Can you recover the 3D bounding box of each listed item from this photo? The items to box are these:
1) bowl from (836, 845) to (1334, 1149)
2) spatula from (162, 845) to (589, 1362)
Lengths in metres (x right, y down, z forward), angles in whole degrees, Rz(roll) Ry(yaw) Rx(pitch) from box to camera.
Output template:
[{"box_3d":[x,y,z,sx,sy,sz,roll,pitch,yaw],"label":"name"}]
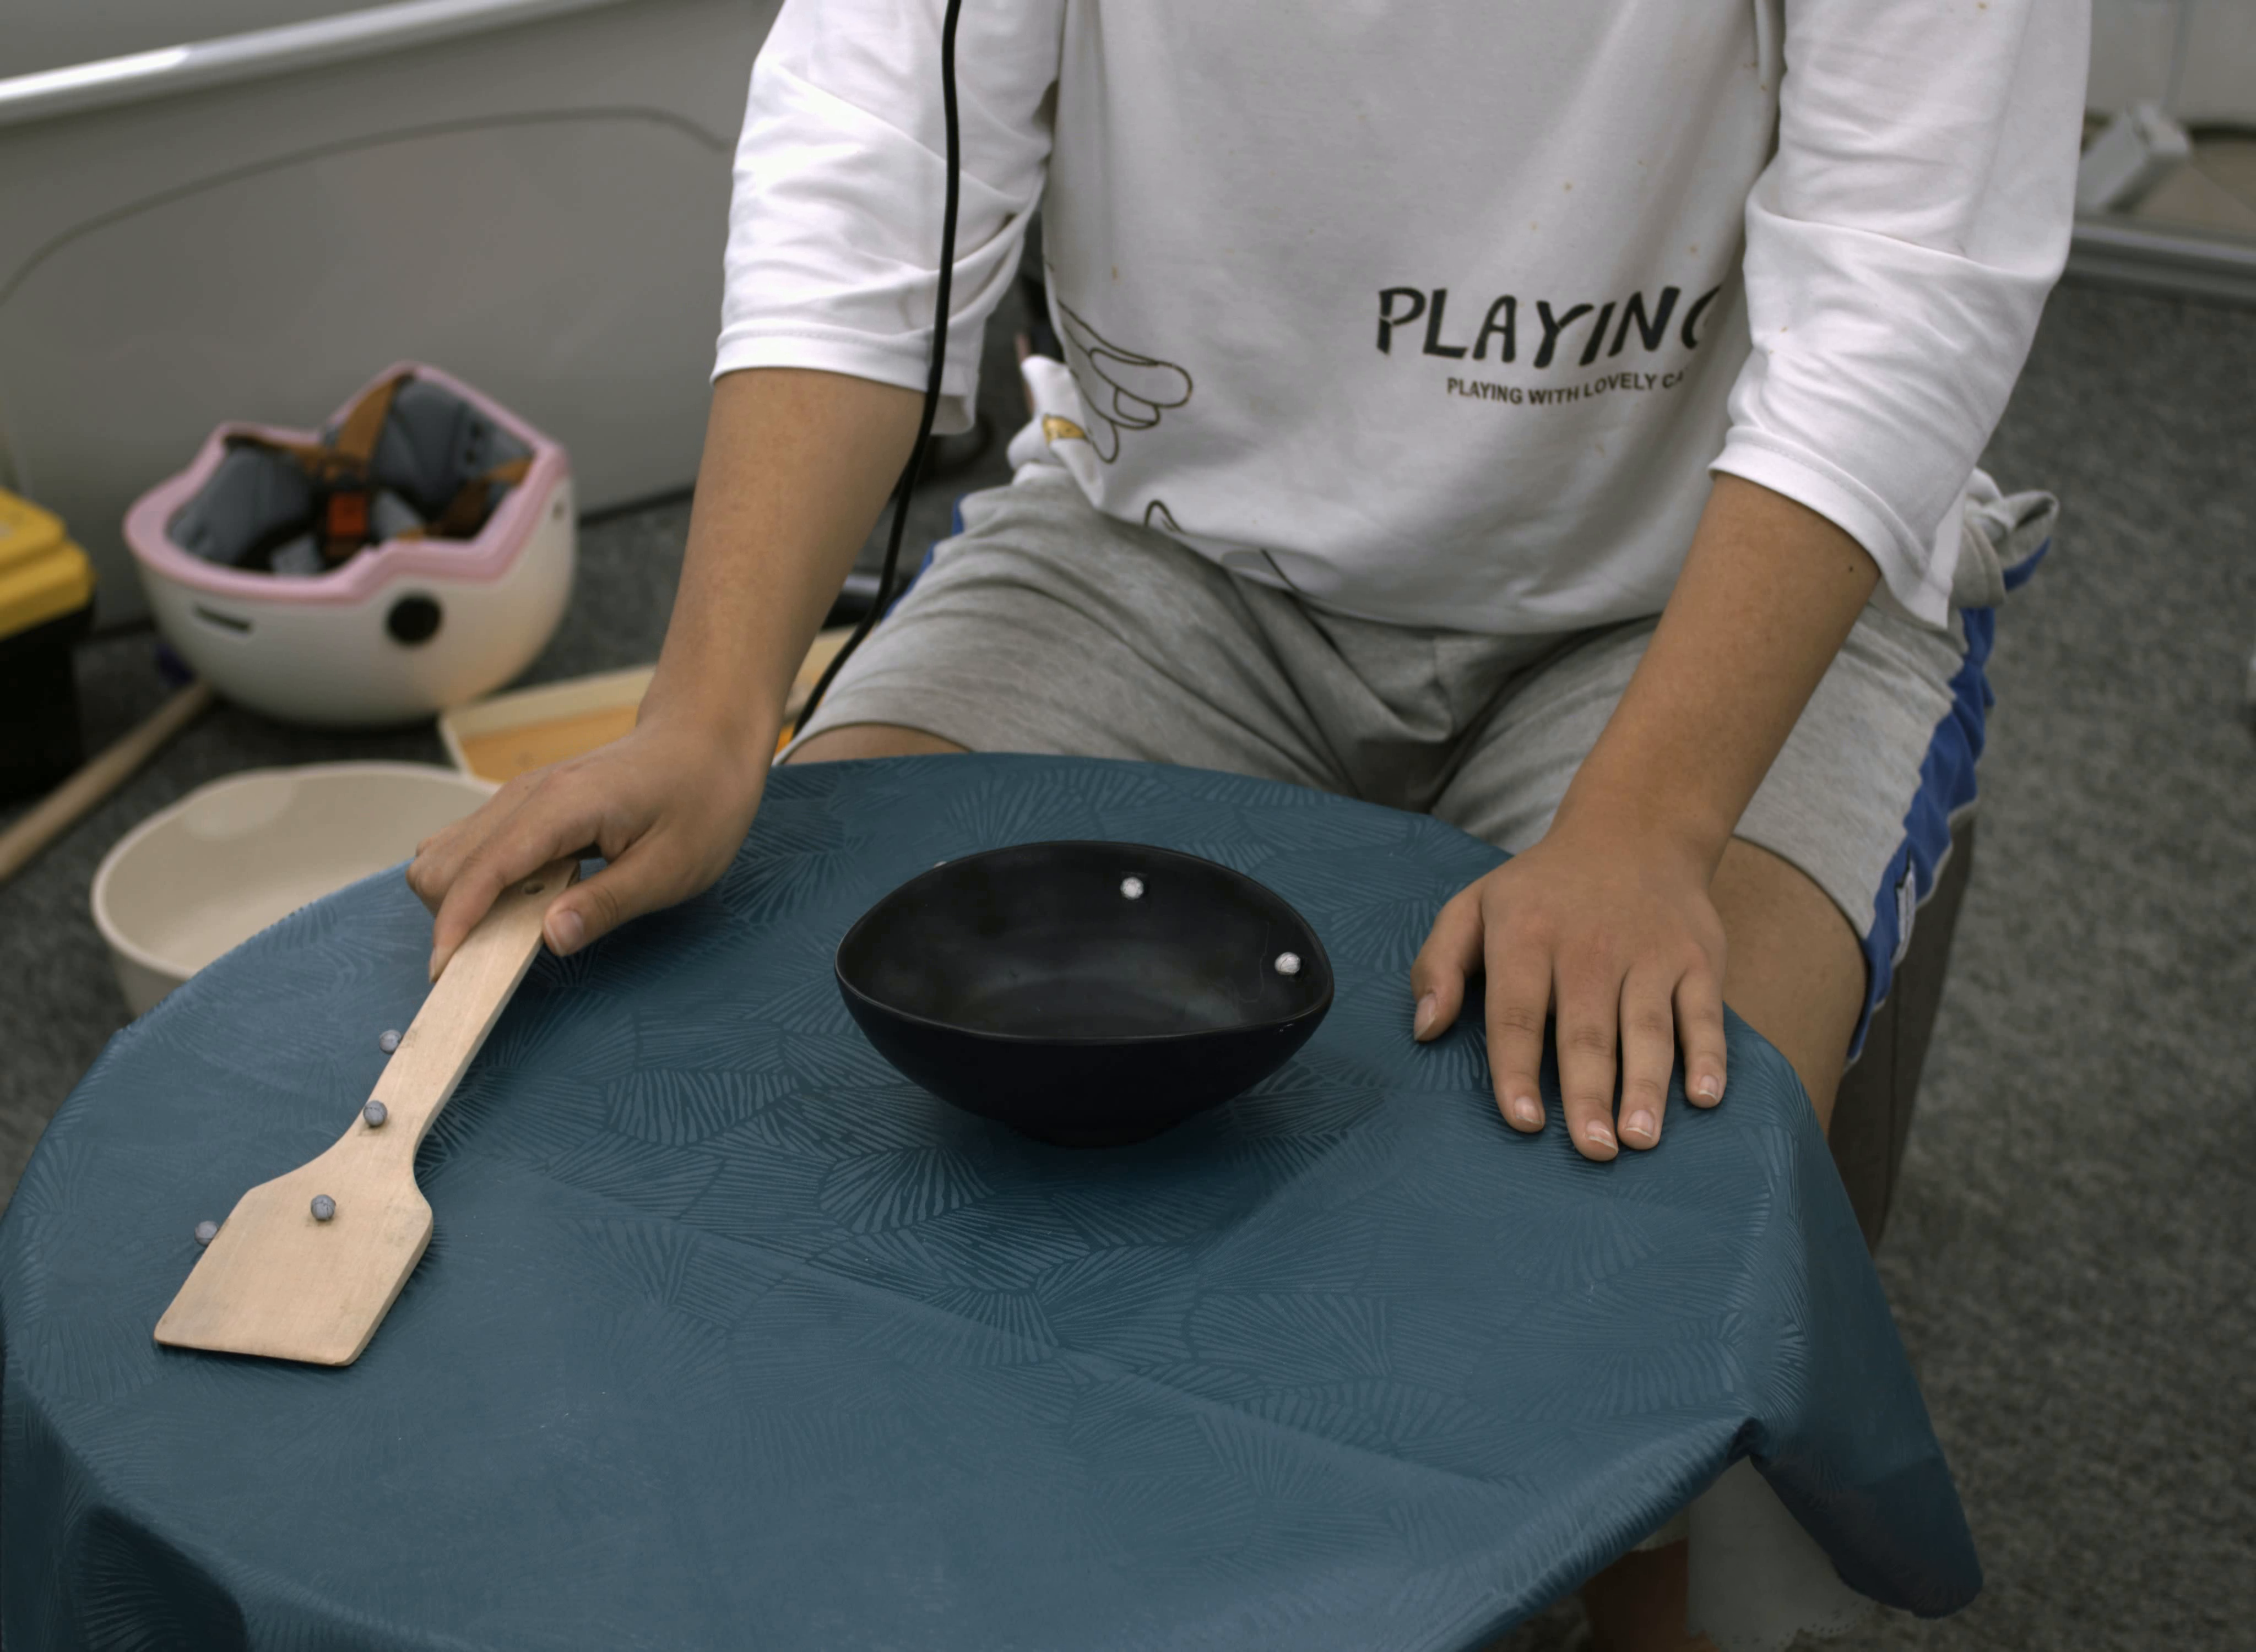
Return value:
[{"box_3d":[-0.014,0.065,1.907,0.169,0.066,0.139,3,27,6],"label":"bowl"},{"box_3d":[-0.243,0.090,1.913,0.072,0.010,0.298,5,34,14],"label":"spatula"}]
